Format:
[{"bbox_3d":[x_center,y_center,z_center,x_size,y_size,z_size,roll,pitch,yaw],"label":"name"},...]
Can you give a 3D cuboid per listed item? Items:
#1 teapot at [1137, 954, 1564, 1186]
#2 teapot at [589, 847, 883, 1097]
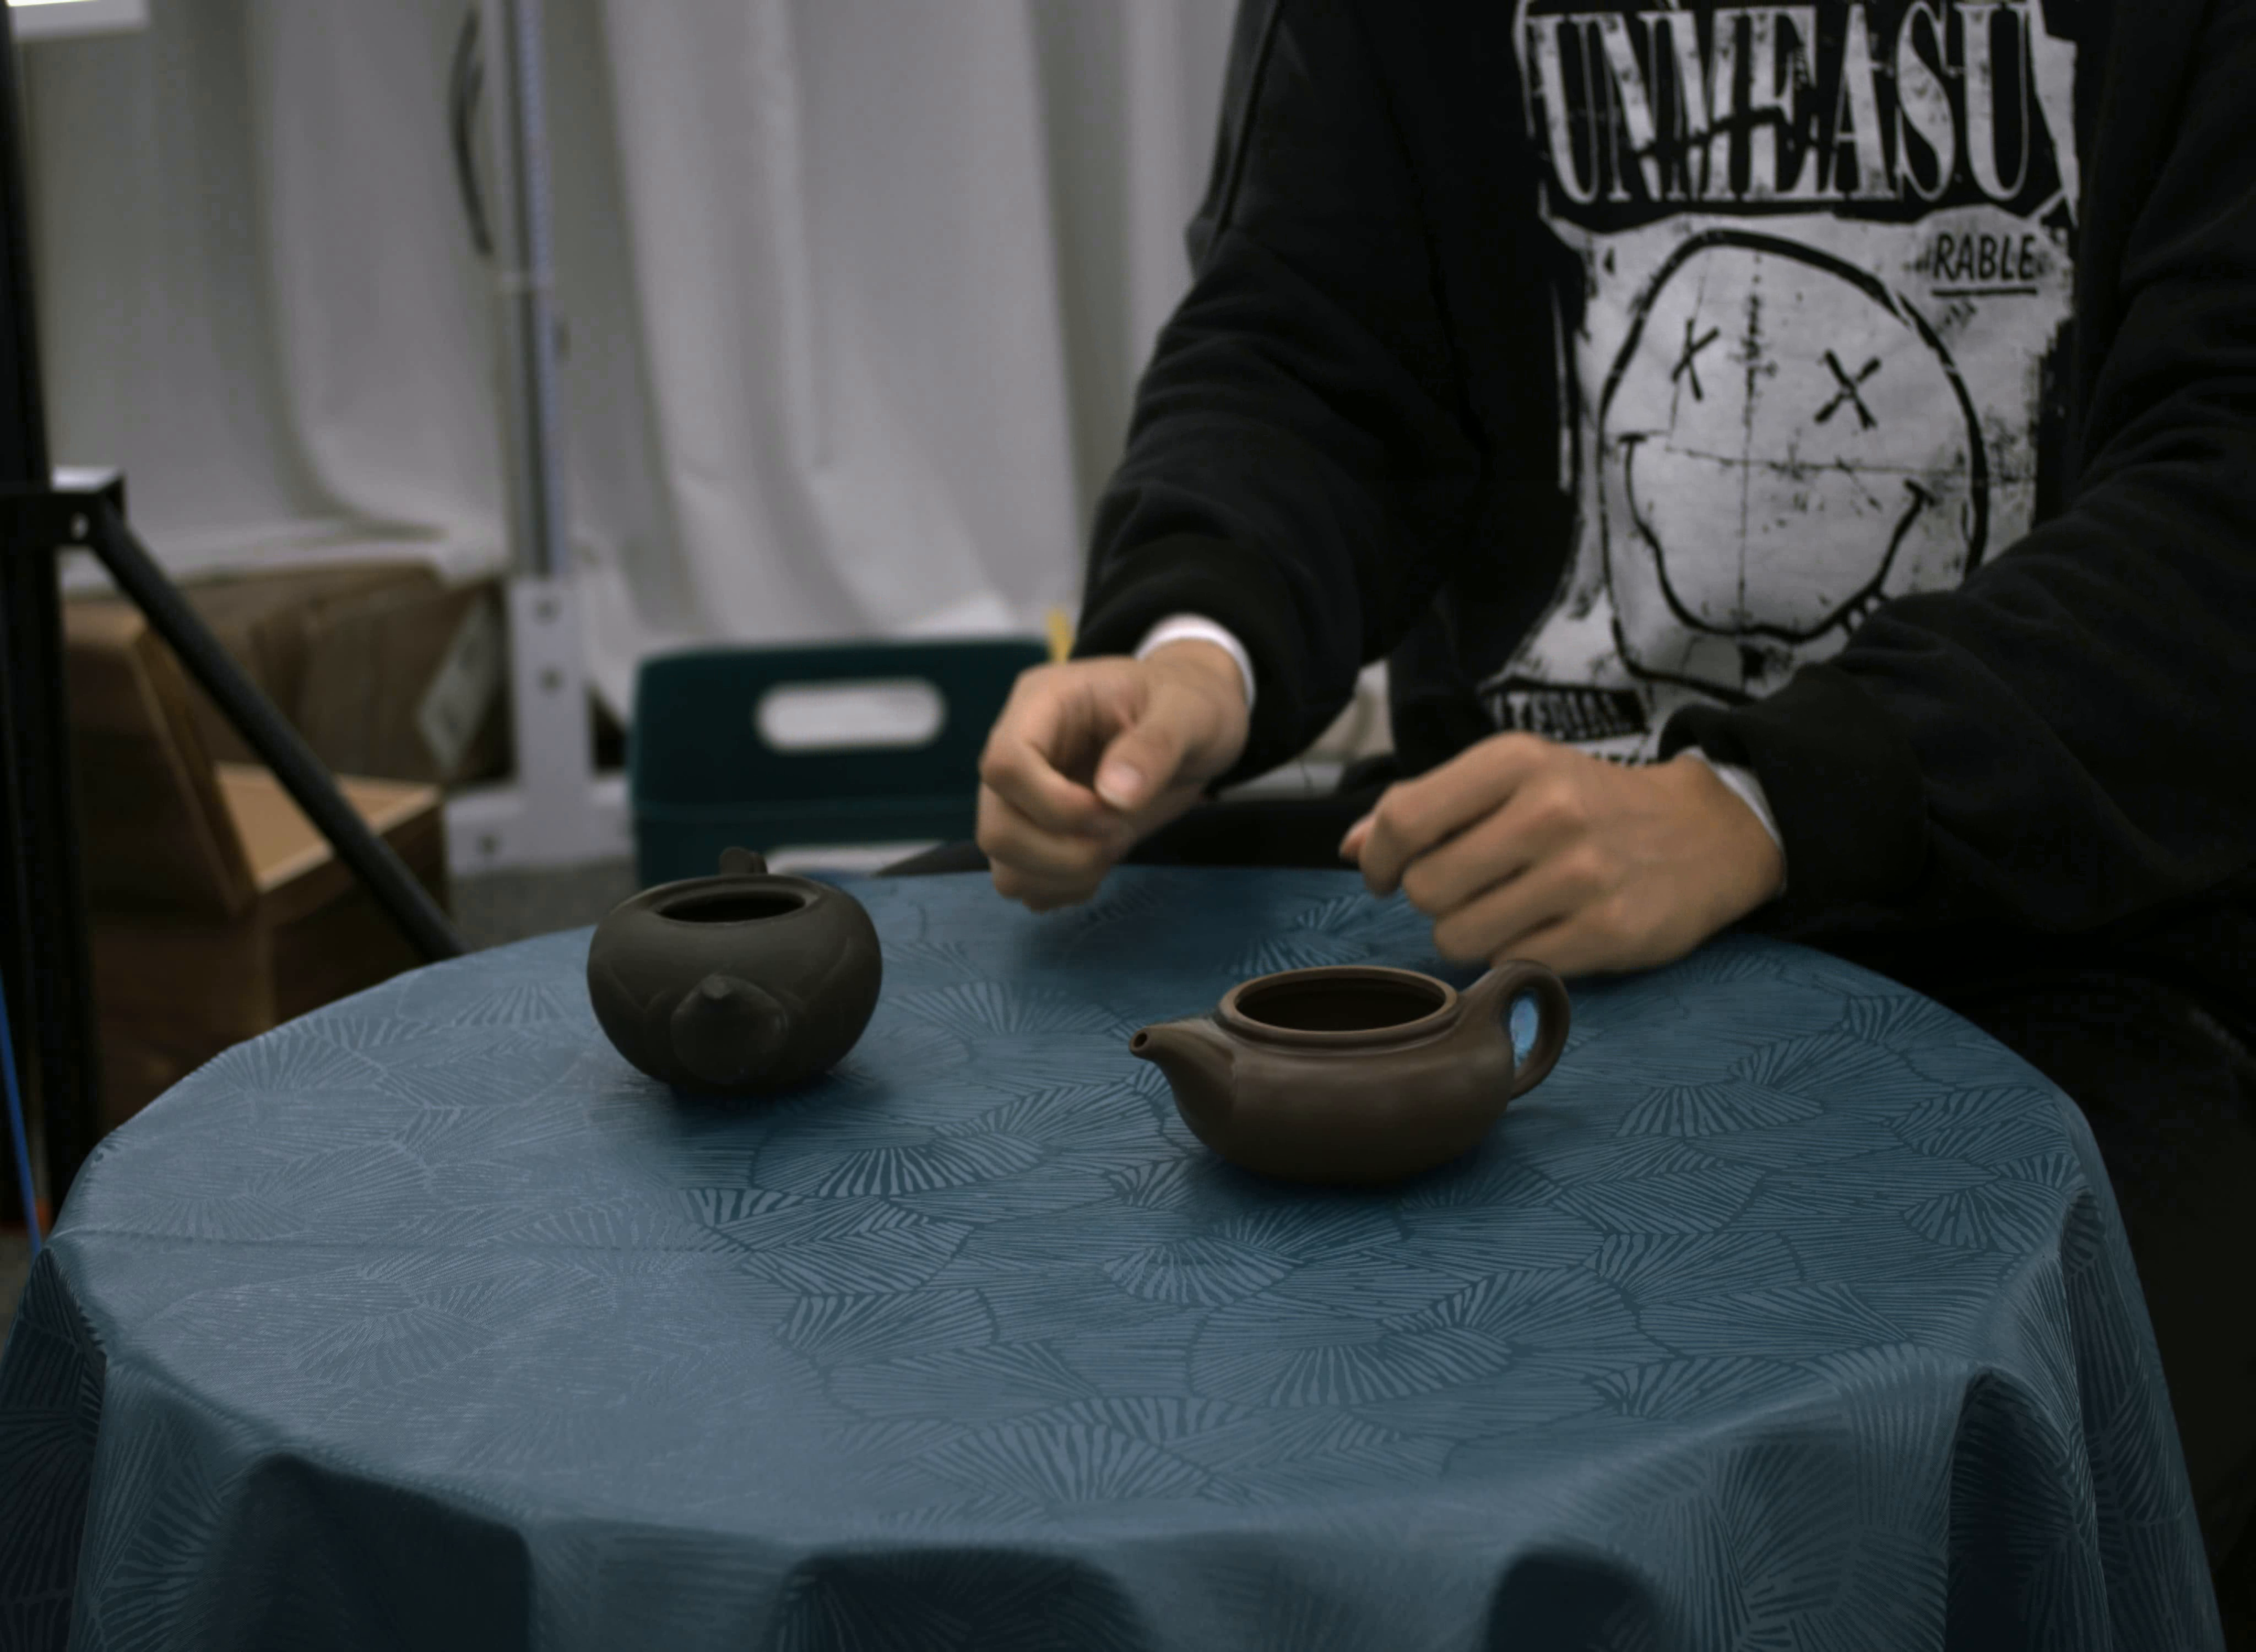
[{"bbox_3d":[0.067,0.071,1.574,0.150,0.054,0.105,-14,22,-33],"label":"teapot"},{"bbox_3d":[-0.123,0.047,1.675,0.092,0.064,0.154,0,16,2],"label":"teapot"}]
